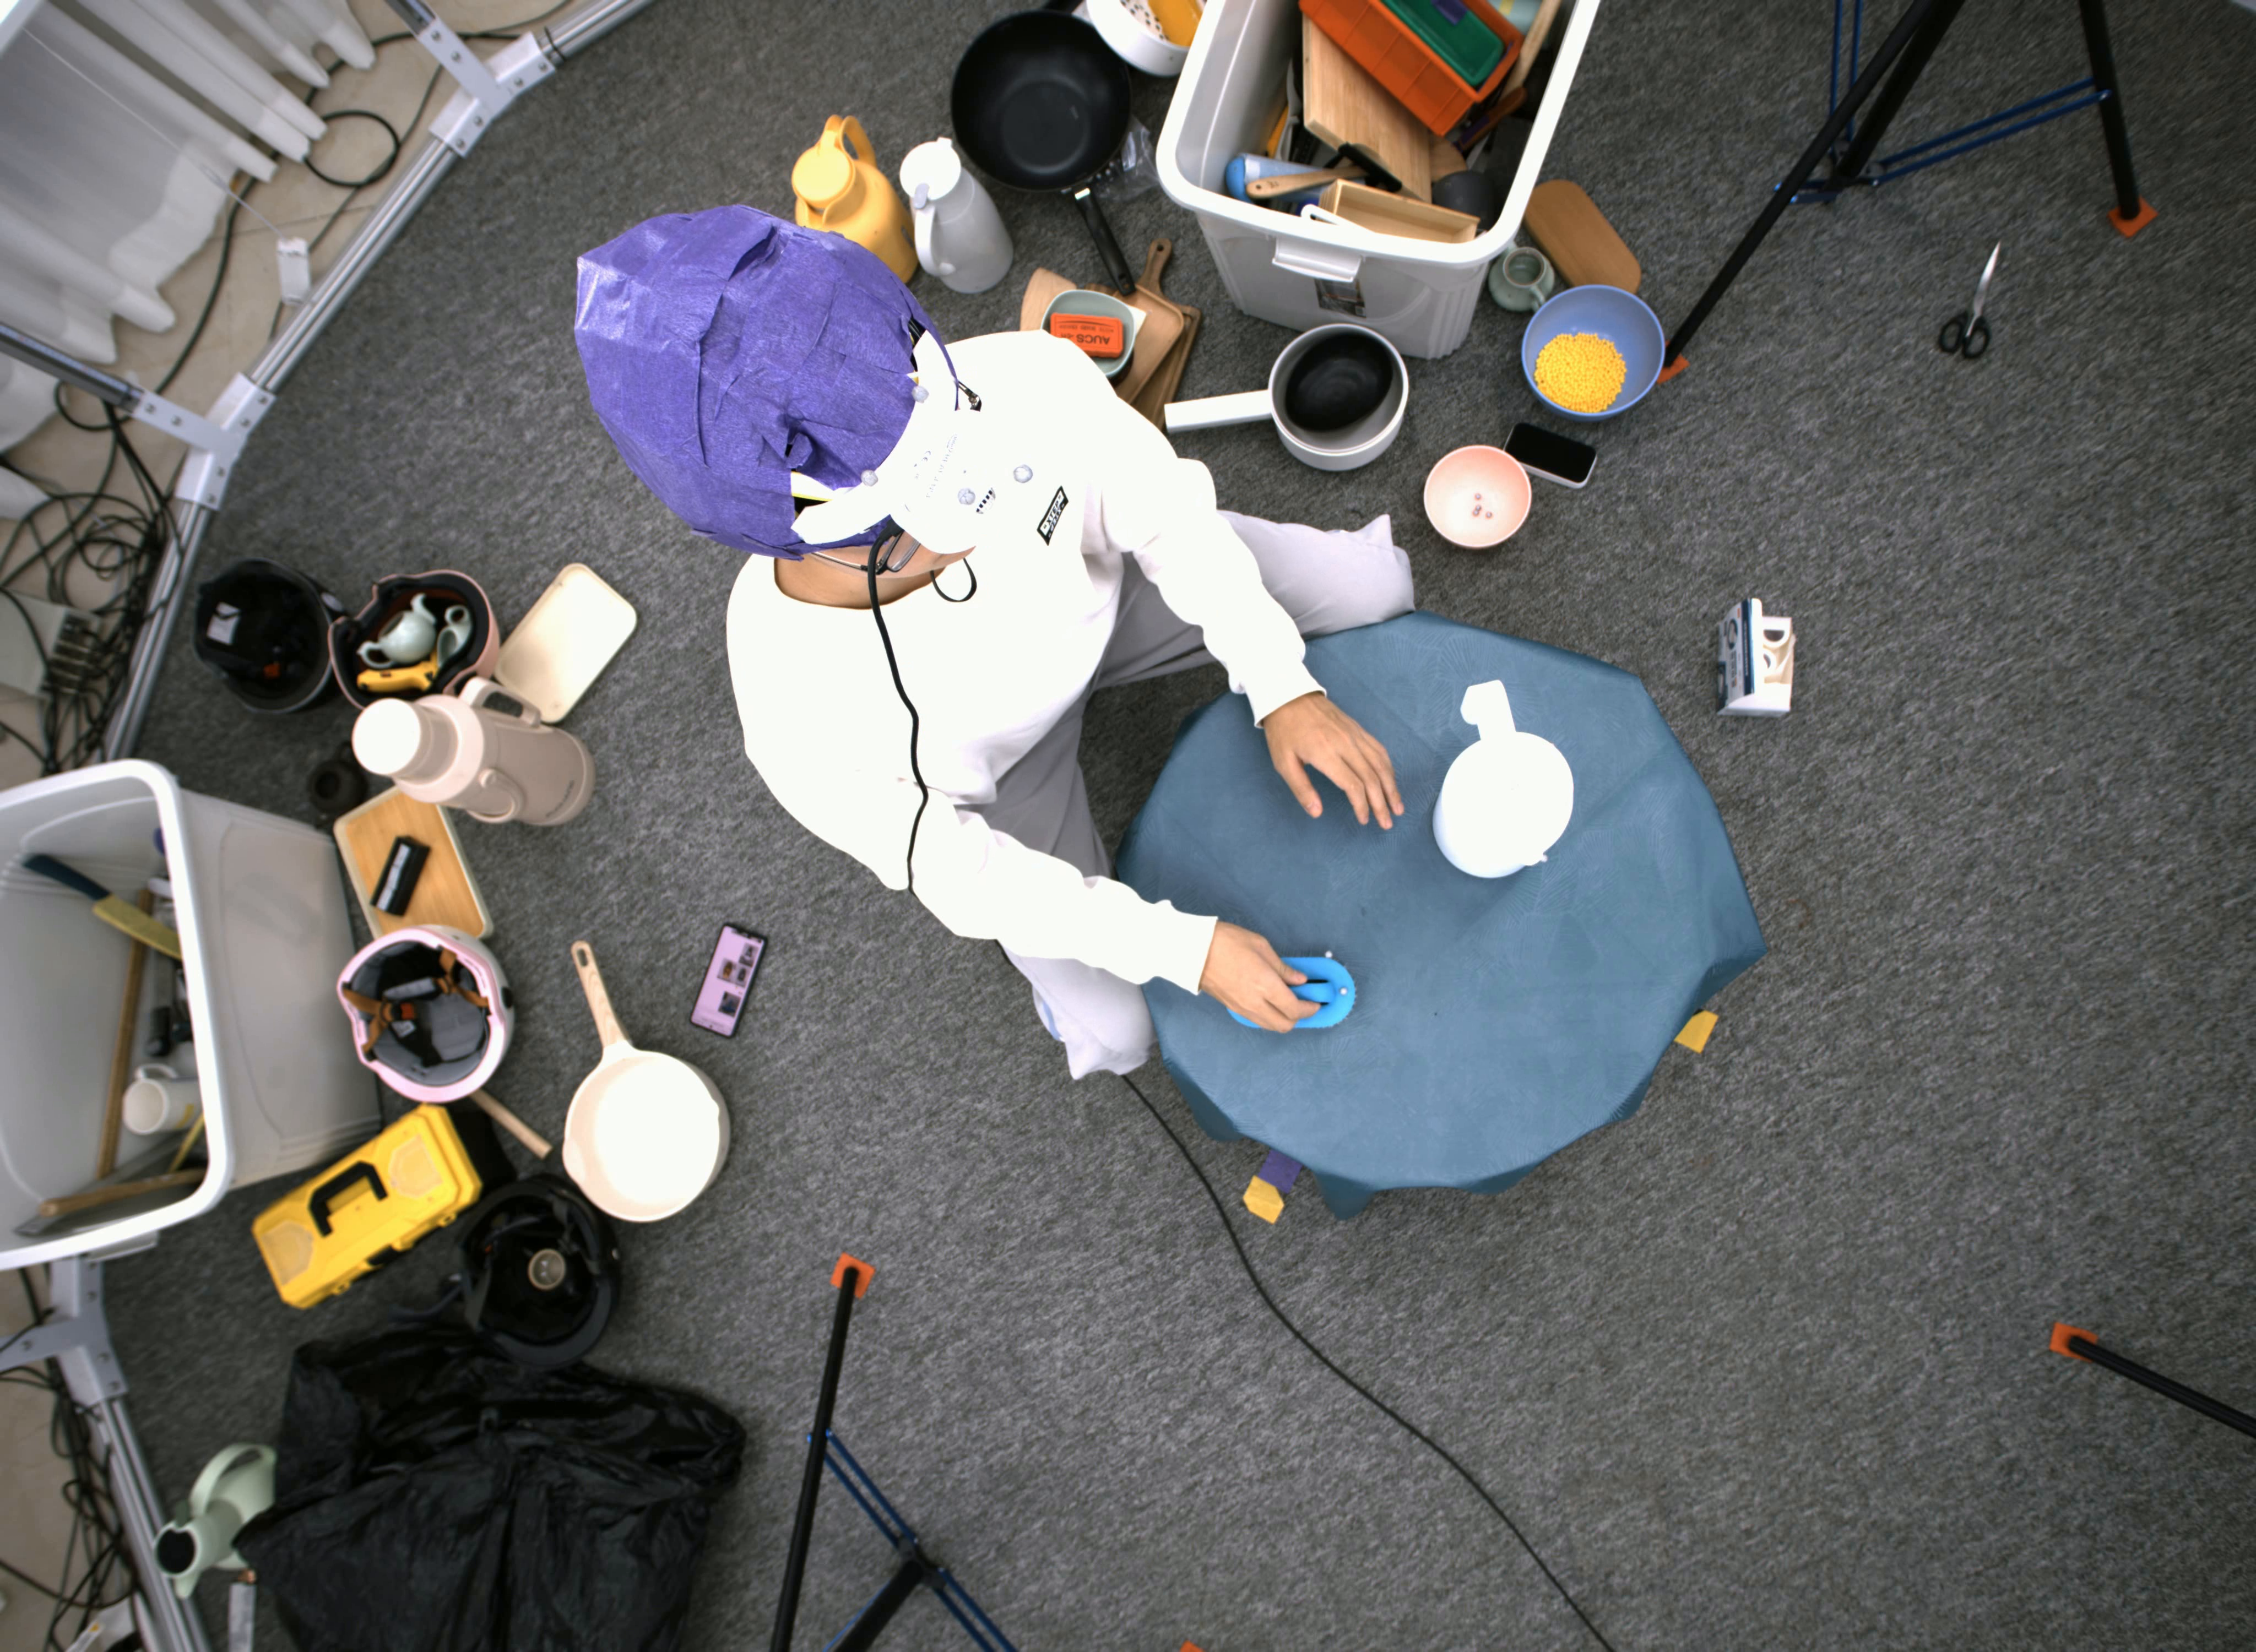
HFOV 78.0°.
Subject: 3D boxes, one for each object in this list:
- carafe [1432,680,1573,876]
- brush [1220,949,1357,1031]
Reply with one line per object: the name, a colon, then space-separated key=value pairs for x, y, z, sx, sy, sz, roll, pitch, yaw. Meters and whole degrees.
carafe: x=0.351 y=-0.038 z=1.315 sx=0.124 sy=0.269 sz=0.171 roll=-14 pitch=82 yaw=10
brush: x=0.165 y=0.170 z=1.441 sx=0.142 sy=0.063 sz=0.084 roll=1 pitch=91 yaw=12
